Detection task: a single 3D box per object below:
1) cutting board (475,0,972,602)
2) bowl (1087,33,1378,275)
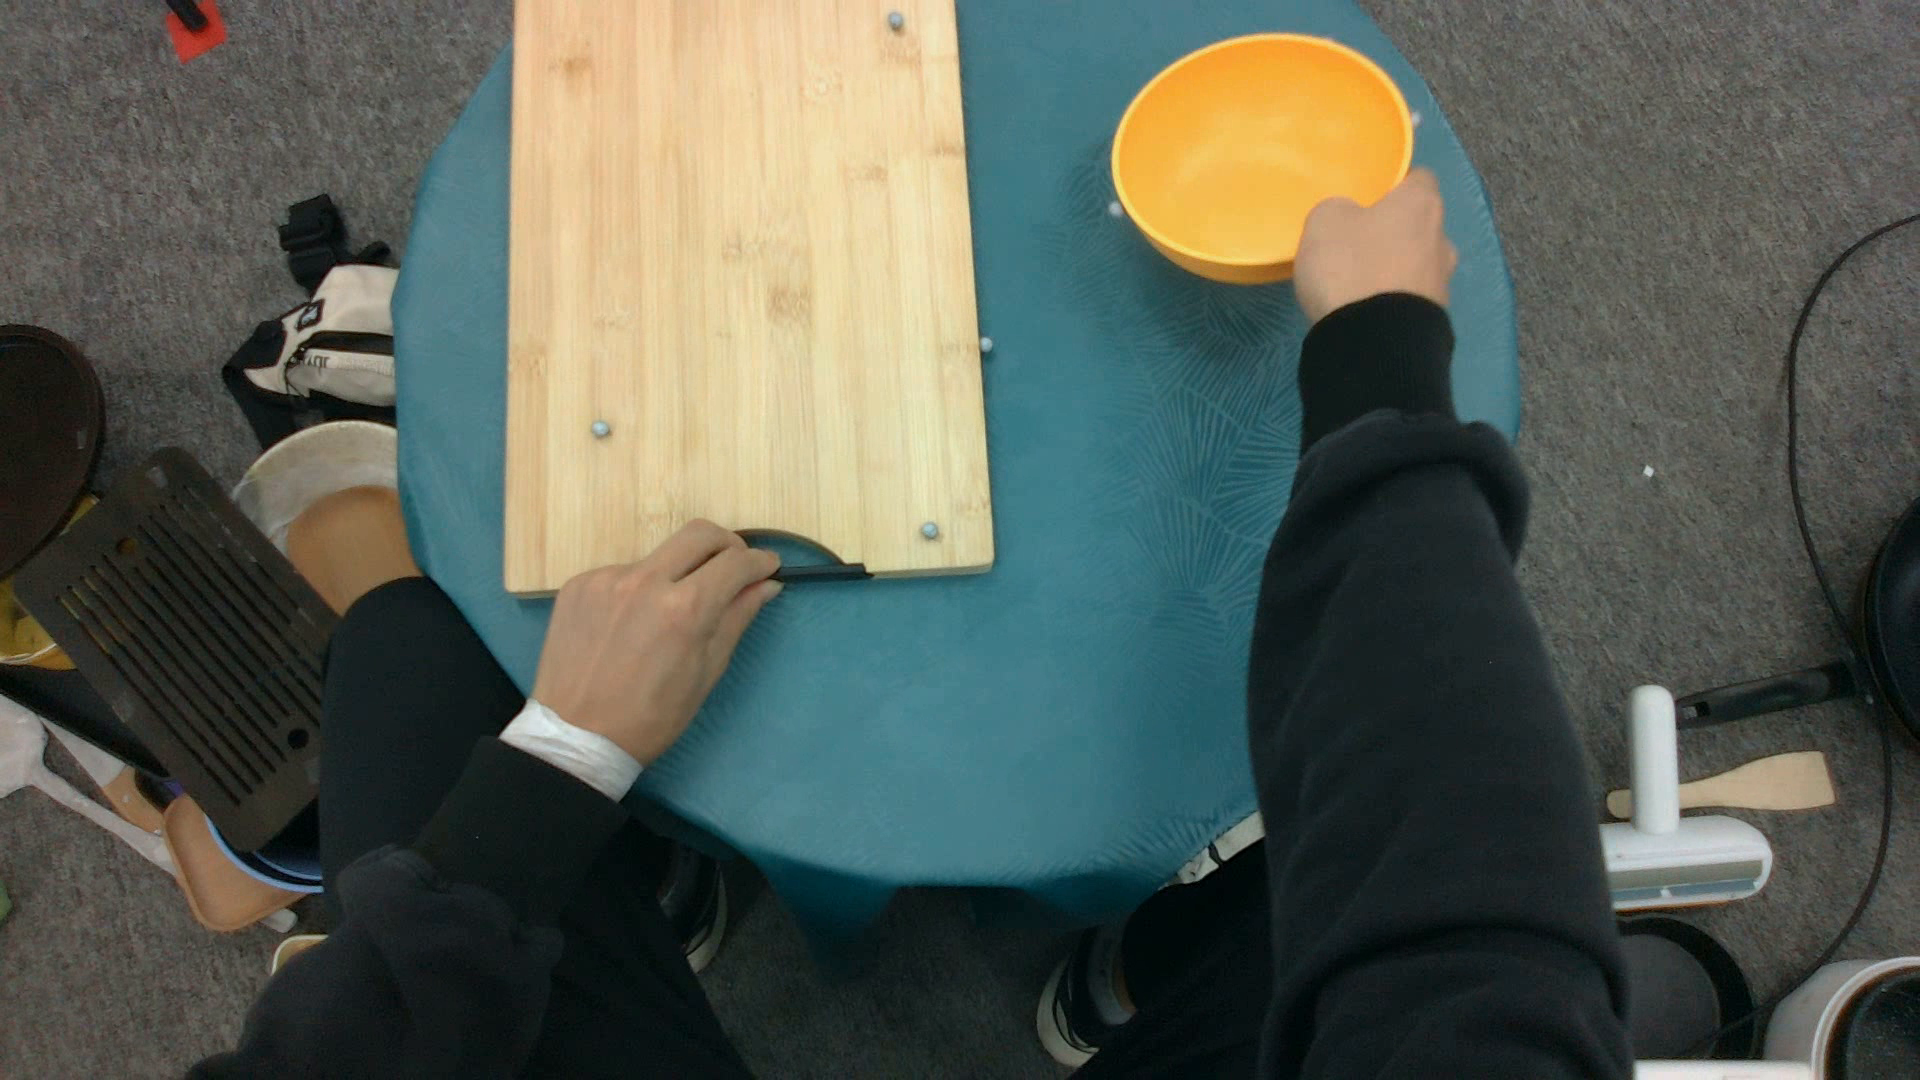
[{"bbox_3d":[-0.127,-0.144,0.726,0.251,0.023,0.349,-4,75,-5],"label":"cutting board"},{"bbox_3d":[0.139,-0.189,0.717,0.145,0.060,0.146,-2,65,5],"label":"bowl"}]
